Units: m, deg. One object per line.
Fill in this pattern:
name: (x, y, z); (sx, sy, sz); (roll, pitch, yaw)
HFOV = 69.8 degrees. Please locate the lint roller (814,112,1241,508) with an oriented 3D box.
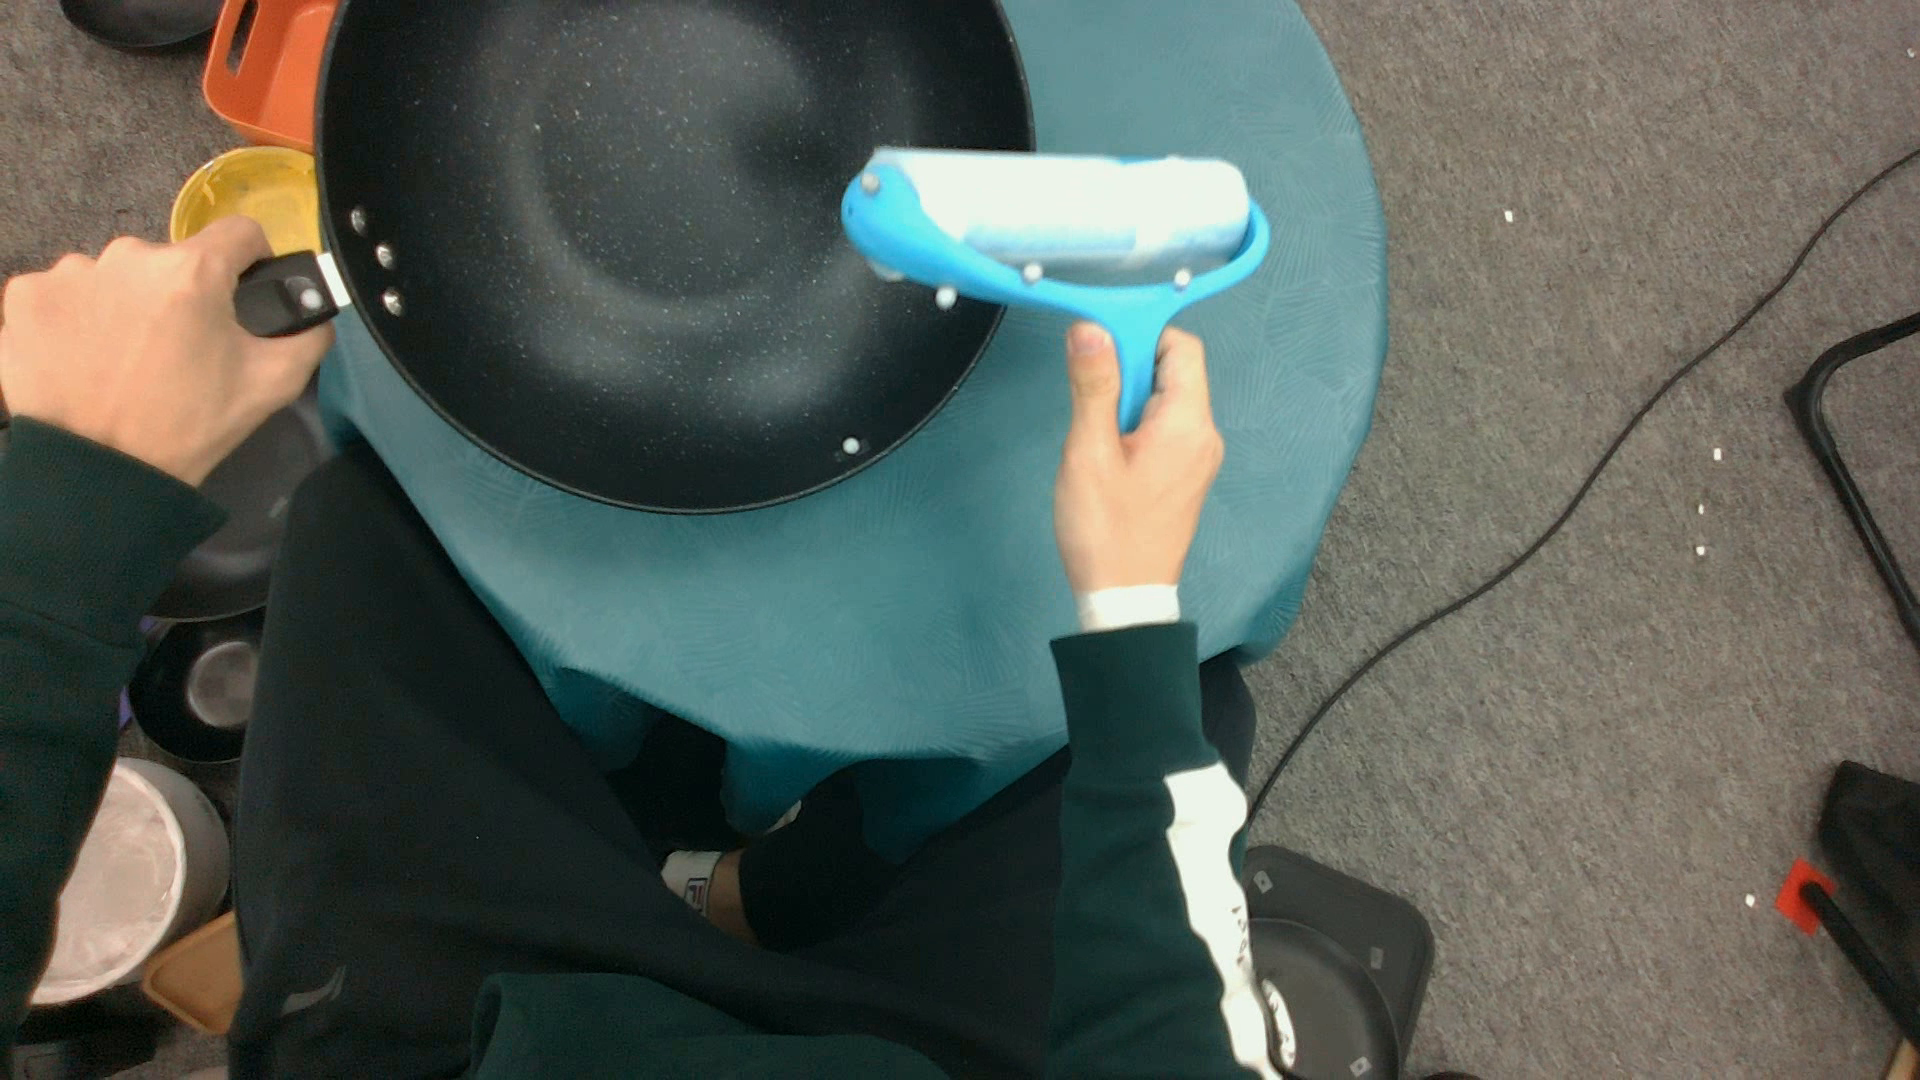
lint roller: (0.051, -0.108, 0.623); (0.230, 0.067, 0.180); (-16, 90, -38)

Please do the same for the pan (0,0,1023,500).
pan: (-0.203, -0.144, 0.613); (0.477, 0.112, 0.309); (-21, 116, -11)
